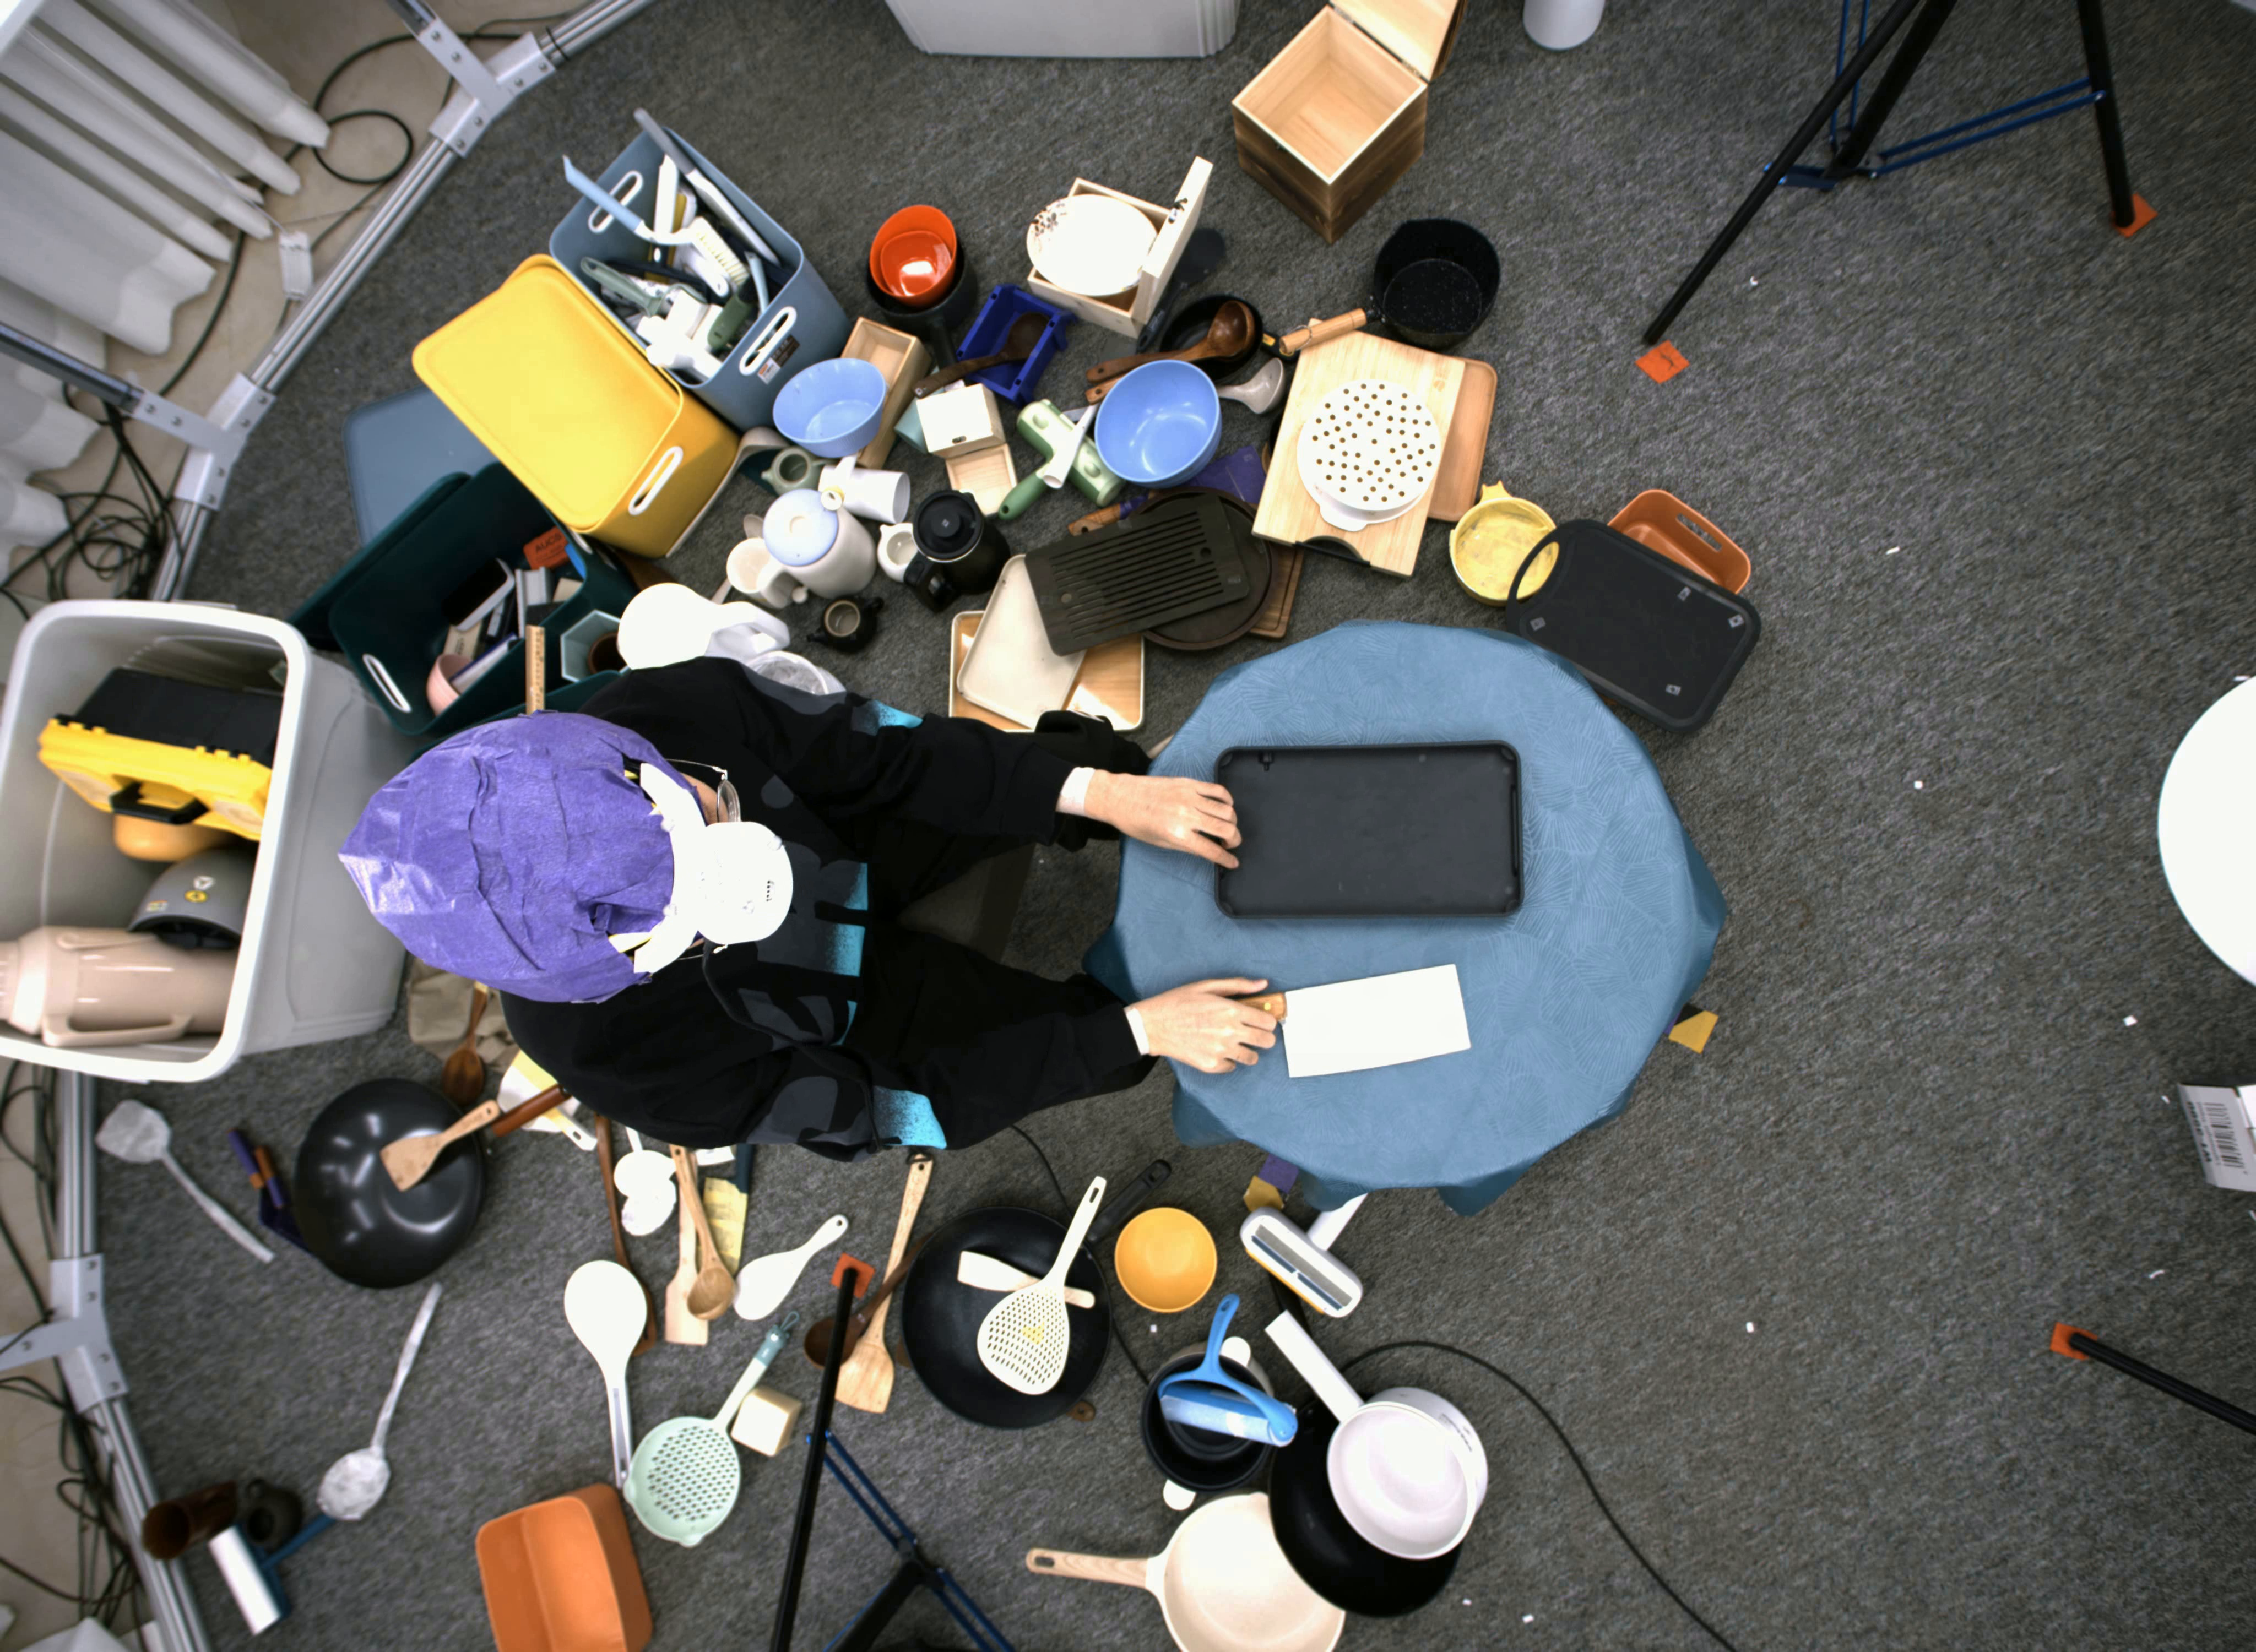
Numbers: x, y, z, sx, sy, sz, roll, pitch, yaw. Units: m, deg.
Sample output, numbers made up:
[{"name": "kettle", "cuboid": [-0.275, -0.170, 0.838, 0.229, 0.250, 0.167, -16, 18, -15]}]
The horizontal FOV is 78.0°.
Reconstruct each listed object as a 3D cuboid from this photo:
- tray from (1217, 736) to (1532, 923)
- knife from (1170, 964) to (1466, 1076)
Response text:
[{"name": "tray", "cuboid": [0.256, 0.005, 1.448, 0.319, 0.037, 0.183, -3, 87, 10]}, {"name": "knife", "cuboid": [0.200, 0.211, 1.457, 0.307, 0.021, 0.092, -10, 87, 7]}]
